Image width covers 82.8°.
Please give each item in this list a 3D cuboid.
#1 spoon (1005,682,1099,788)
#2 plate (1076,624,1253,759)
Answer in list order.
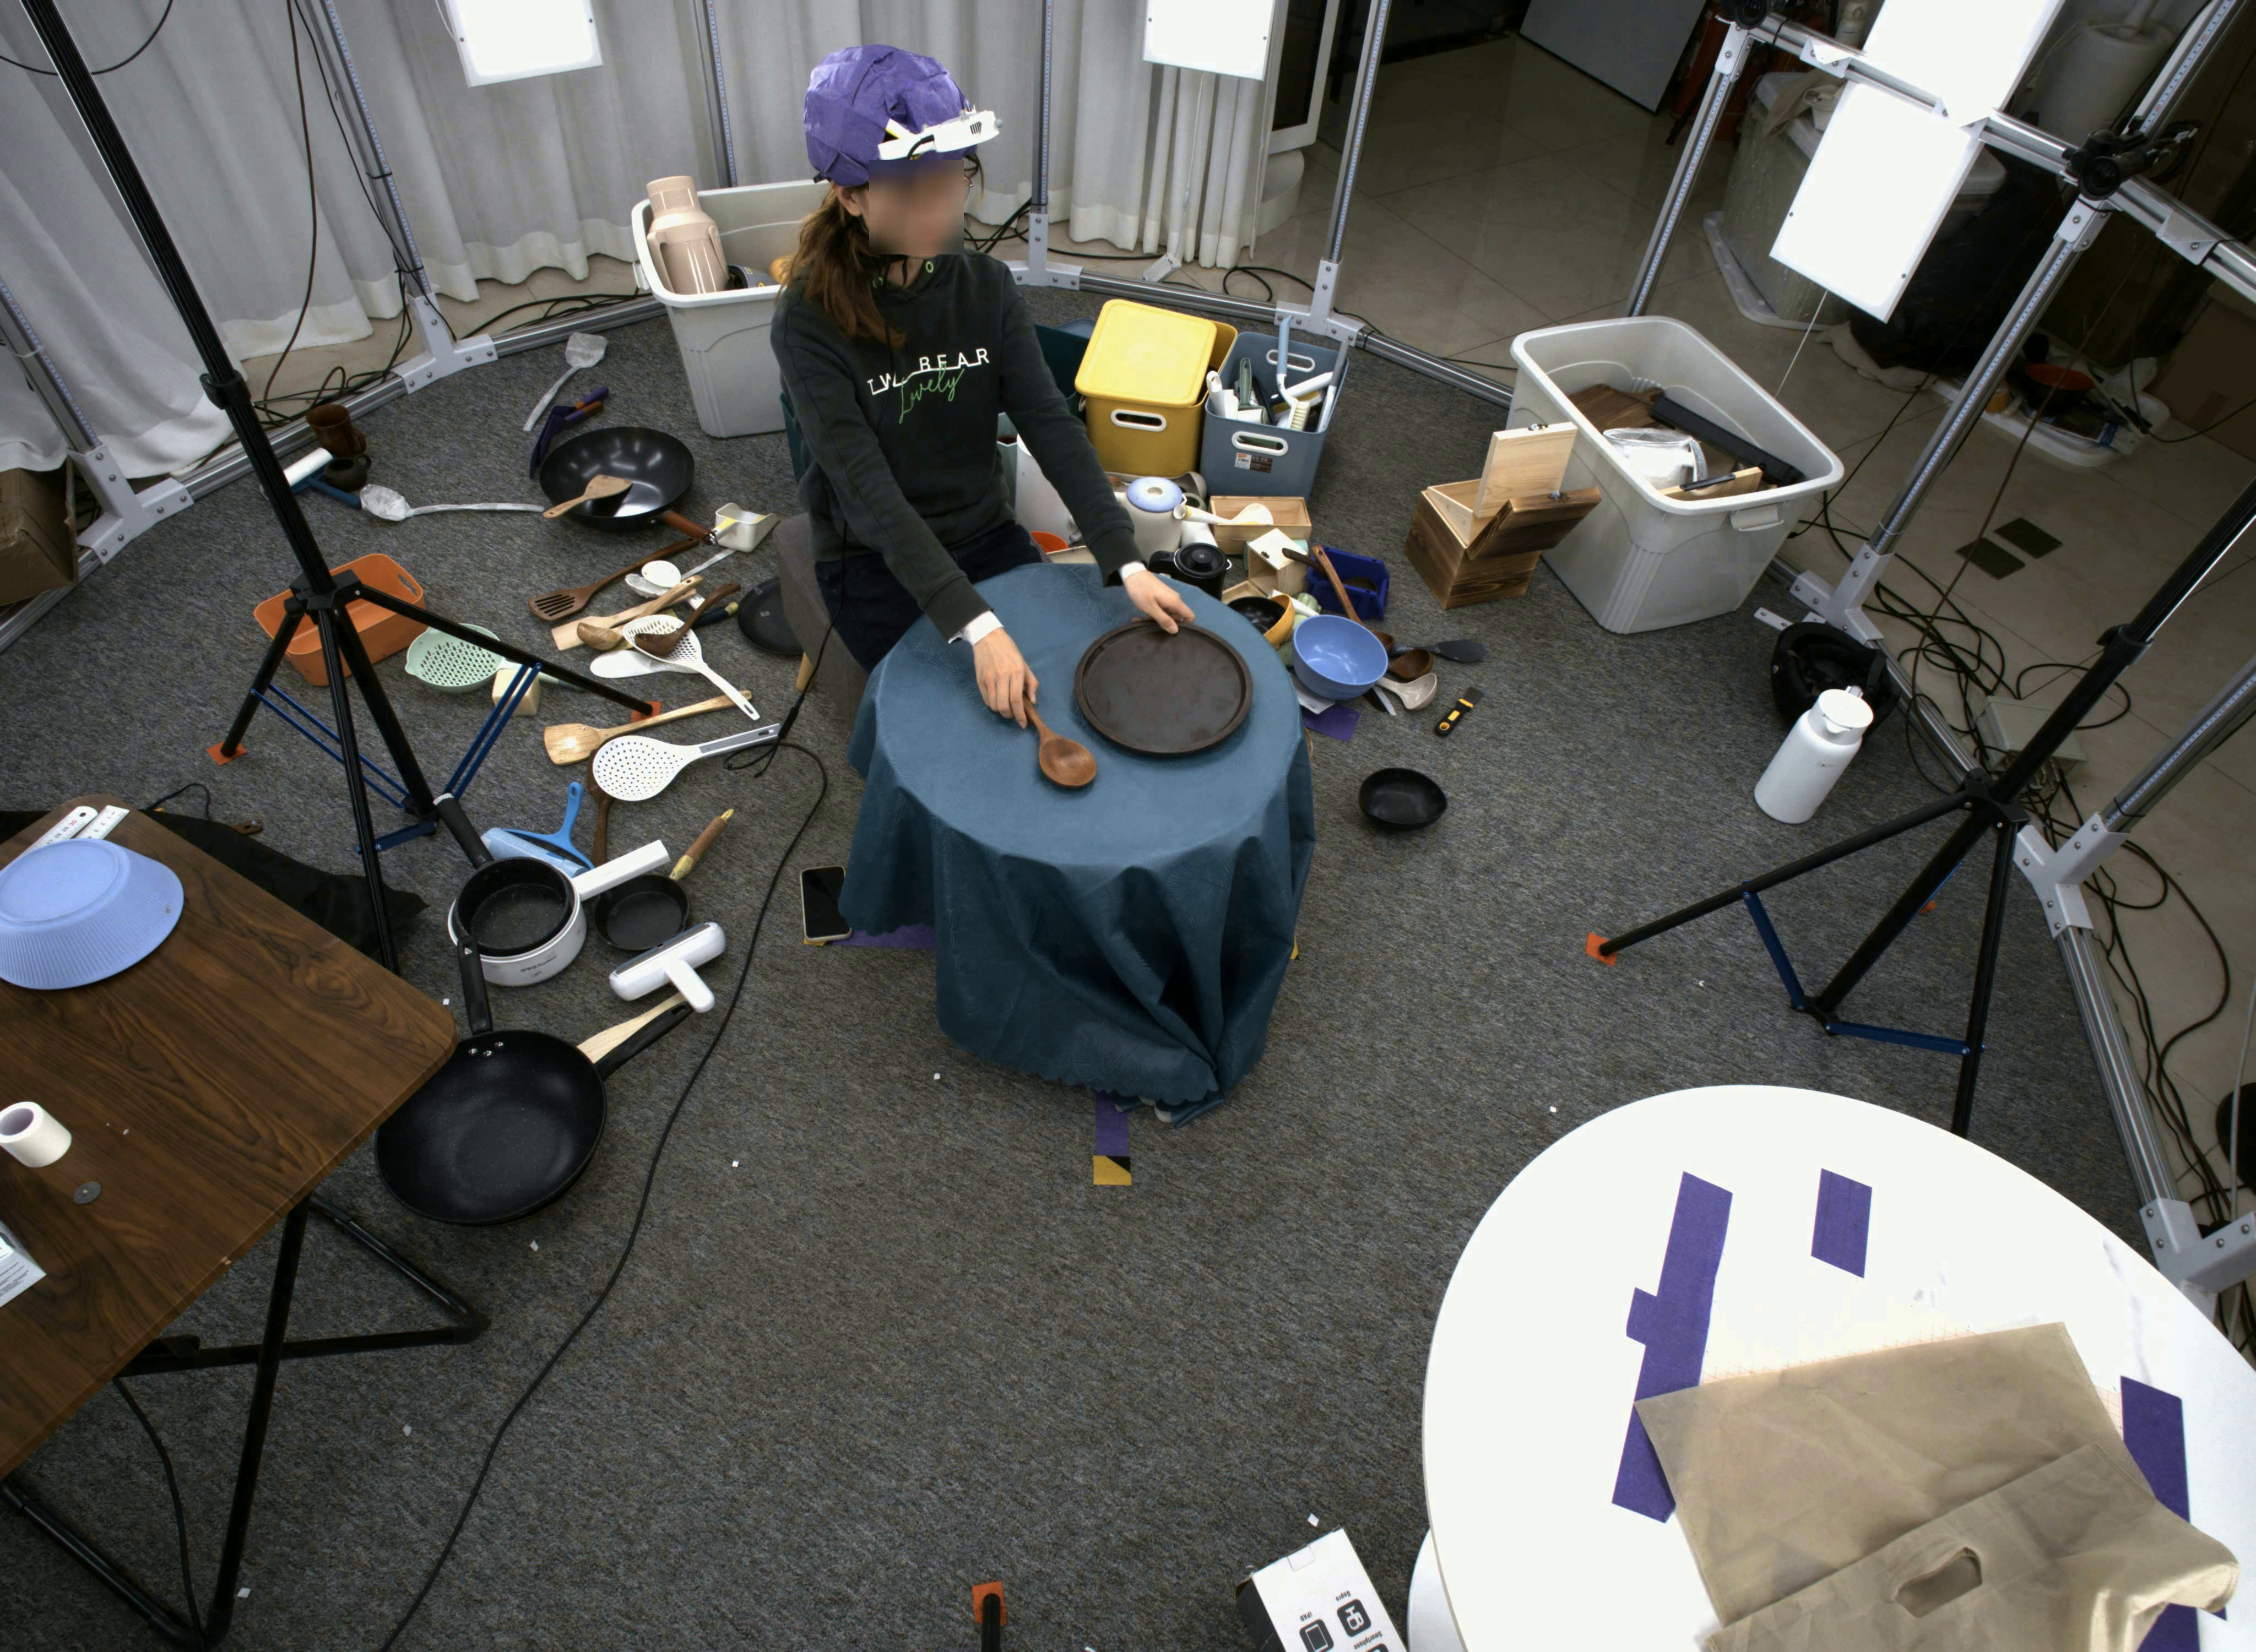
[{"bbox_3d":[-0.112,-0.127,1.773,0.076,0.017,0.220,-21,55,-23],"label":"spoon"},{"bbox_3d":[0.052,-0.194,1.834,0.254,0.028,0.261,1,53,-2],"label":"plate"}]
